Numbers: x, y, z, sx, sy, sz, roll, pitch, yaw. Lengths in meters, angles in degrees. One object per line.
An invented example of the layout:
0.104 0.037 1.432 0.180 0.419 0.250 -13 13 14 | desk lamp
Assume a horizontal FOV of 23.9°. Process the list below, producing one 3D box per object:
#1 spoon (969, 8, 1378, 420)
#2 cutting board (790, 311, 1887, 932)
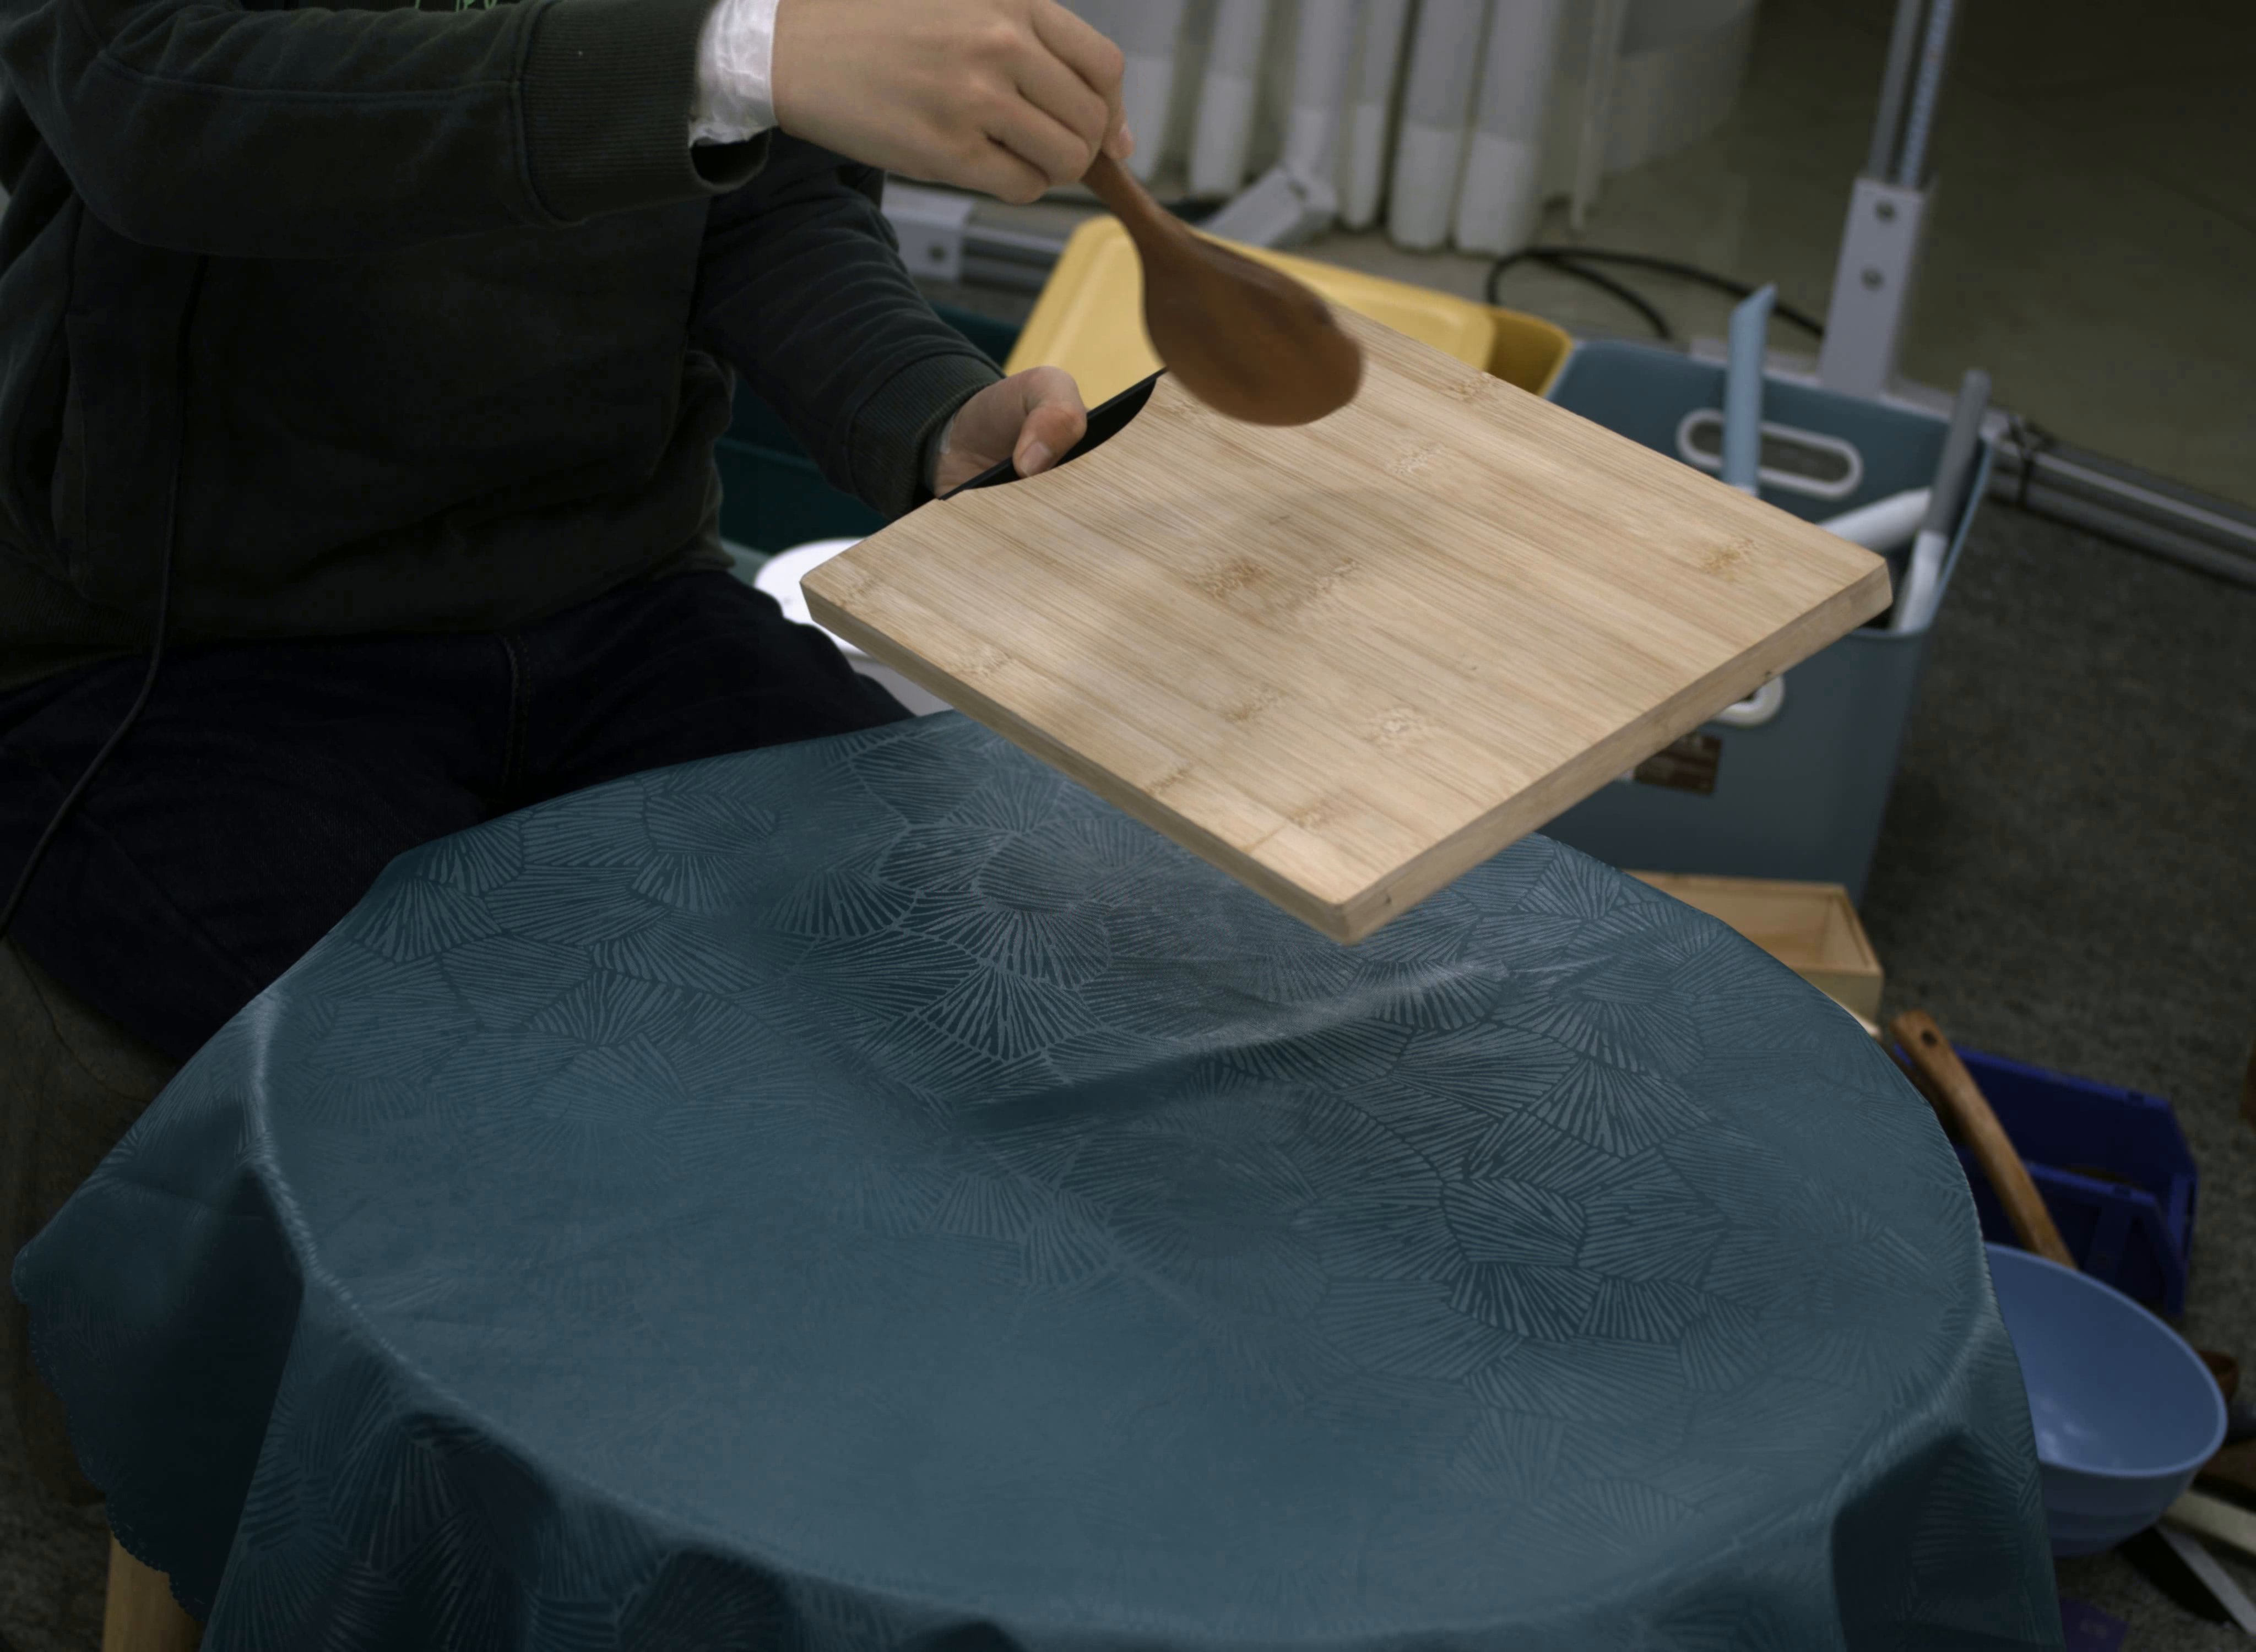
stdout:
0.012 -0.205 1.833 0.076 0.214 0.017 -9 49 37 | spoon
0.066 -0.085 1.882 0.250 0.023 0.351 -31 35 -23 | cutting board
